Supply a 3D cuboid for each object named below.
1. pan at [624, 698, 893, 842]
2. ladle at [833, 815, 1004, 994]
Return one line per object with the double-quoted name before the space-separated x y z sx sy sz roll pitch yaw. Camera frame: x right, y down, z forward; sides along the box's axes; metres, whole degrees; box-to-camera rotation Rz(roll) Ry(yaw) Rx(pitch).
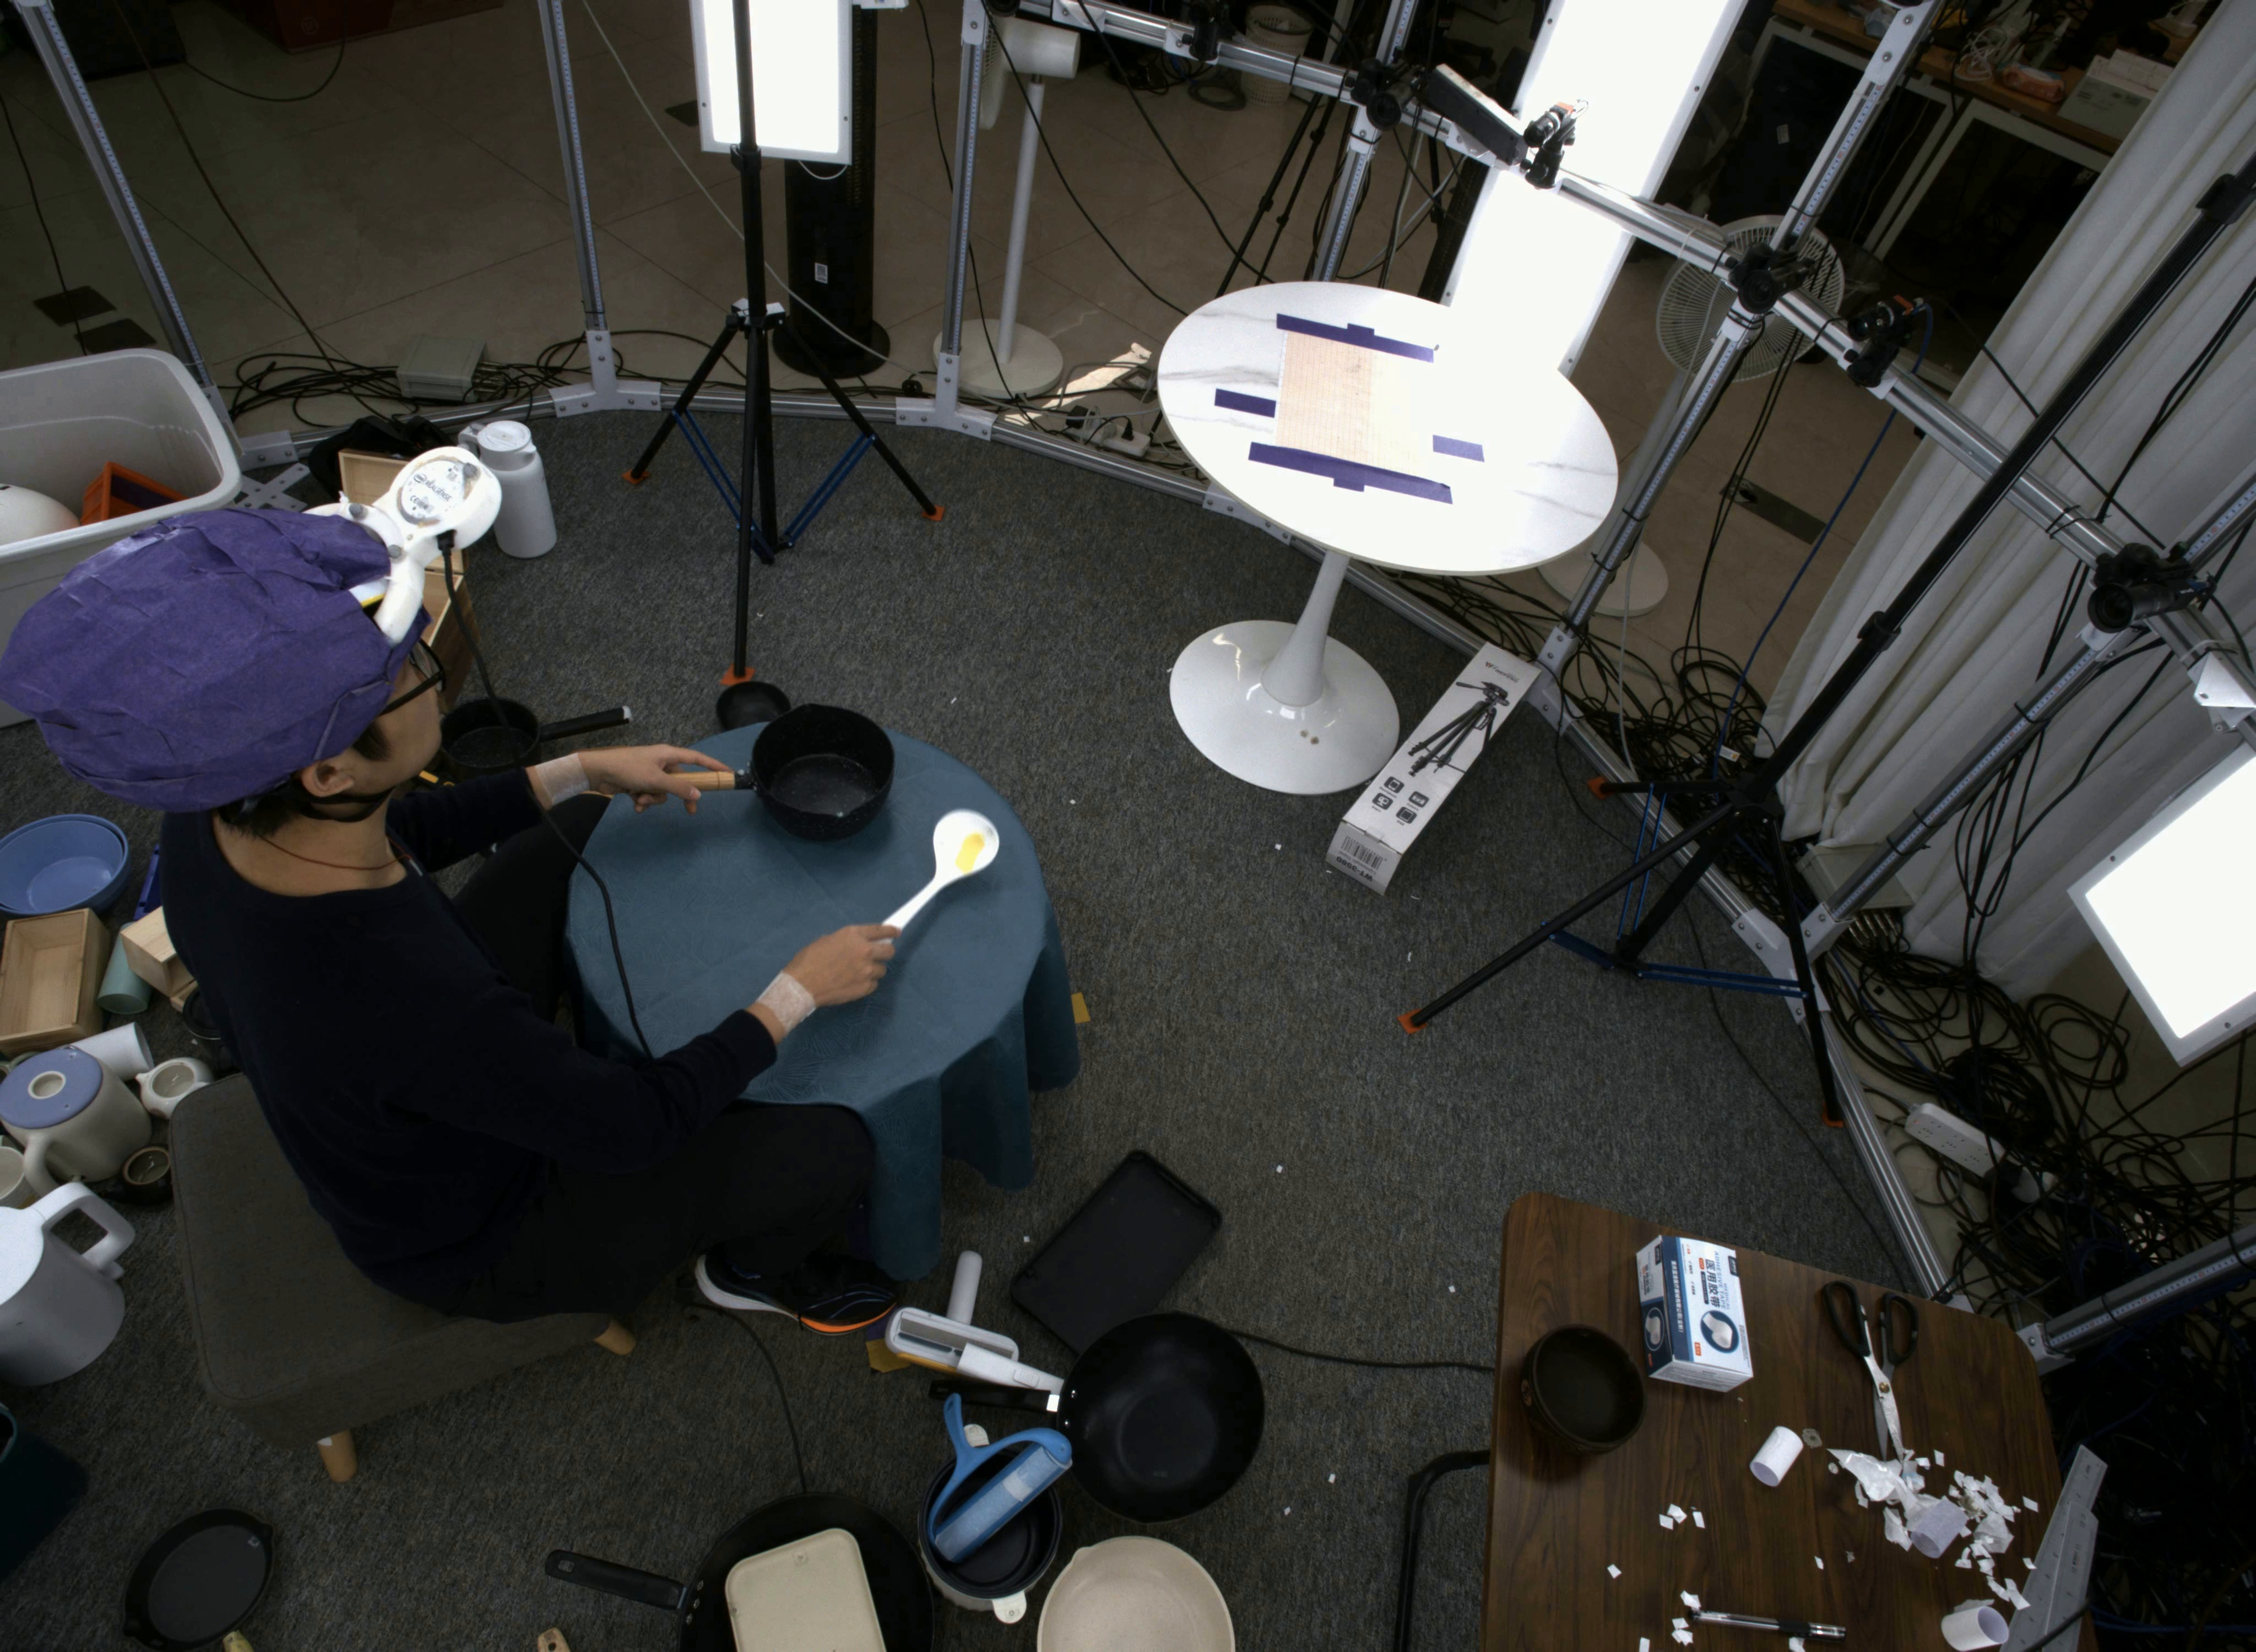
"pan" -0.474 -0.057 1.673 0.345 0.110 0.202 -12 58 -24
"ladle" -0.260 0.094 1.613 0.089 0.071 0.292 33 44 9
